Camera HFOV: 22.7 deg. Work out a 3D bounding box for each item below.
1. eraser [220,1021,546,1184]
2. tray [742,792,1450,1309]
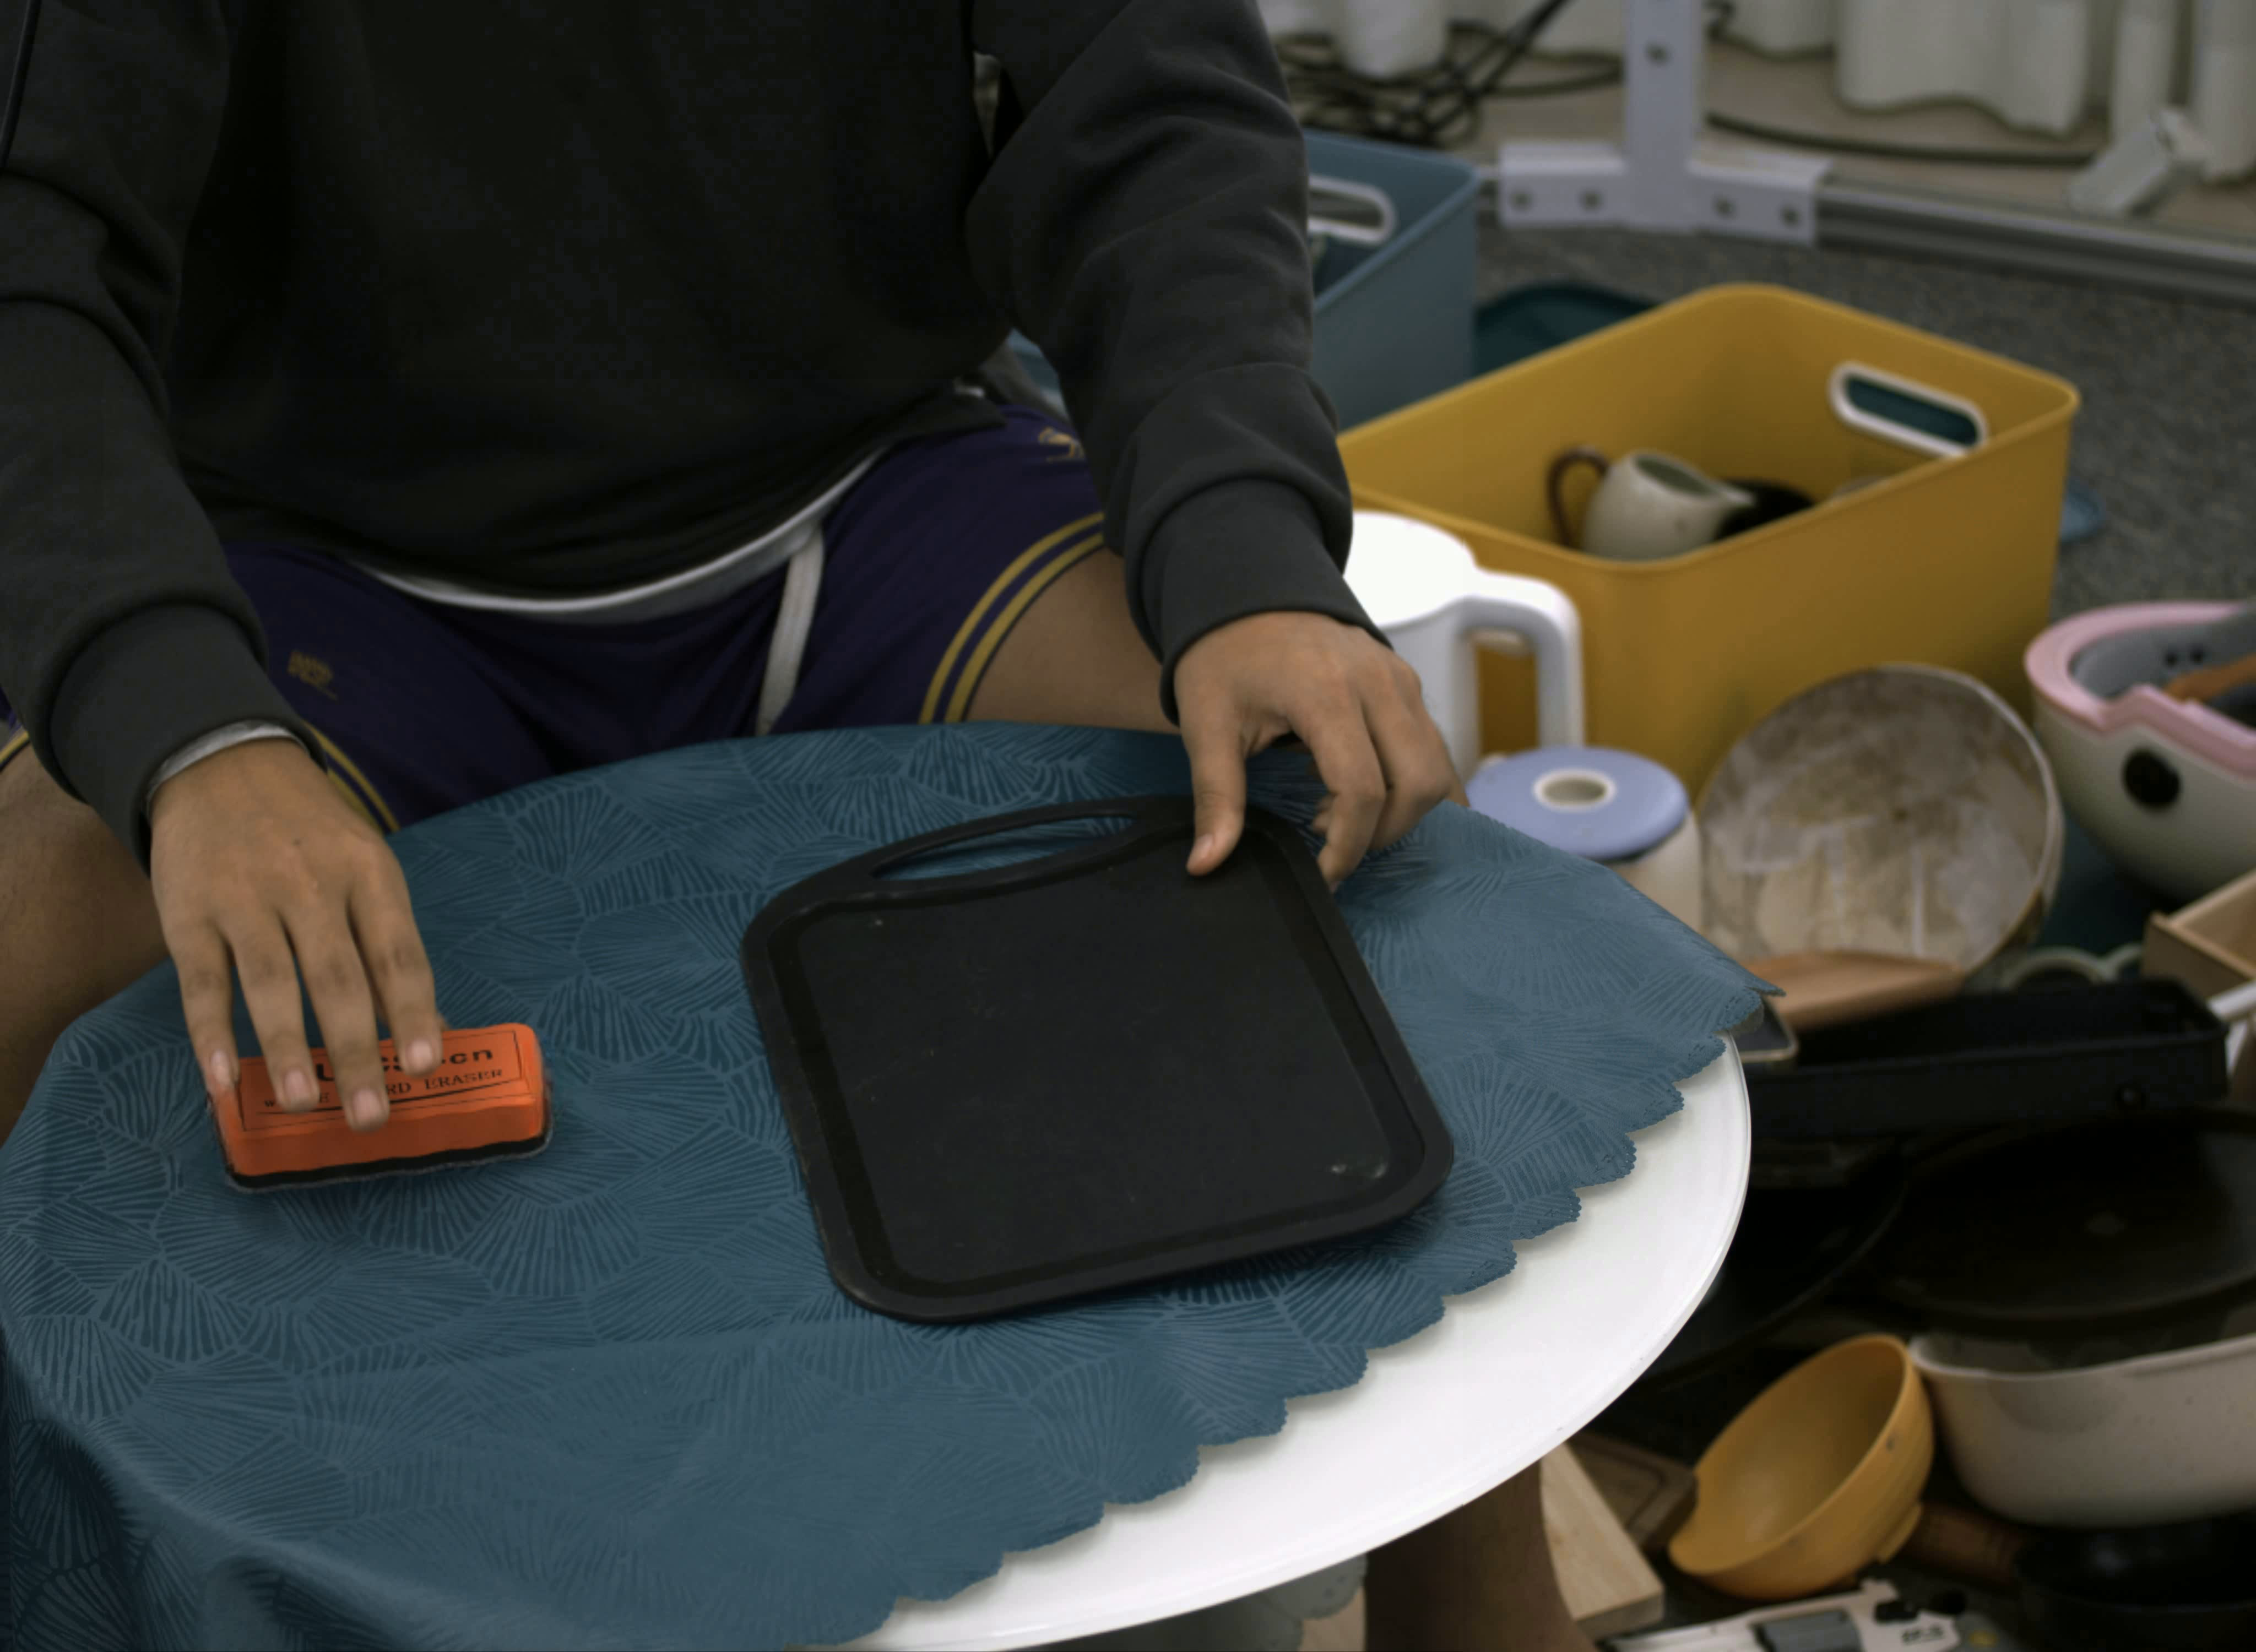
[{"bbox_3d":[-0.253,0.094,1.909,0.108,0.022,0.059,-6,27,-9],"label":"eraser"},{"bbox_3d":[-0.019,0.068,1.941,0.211,0.009,0.329,-12,28,-6],"label":"tray"}]
